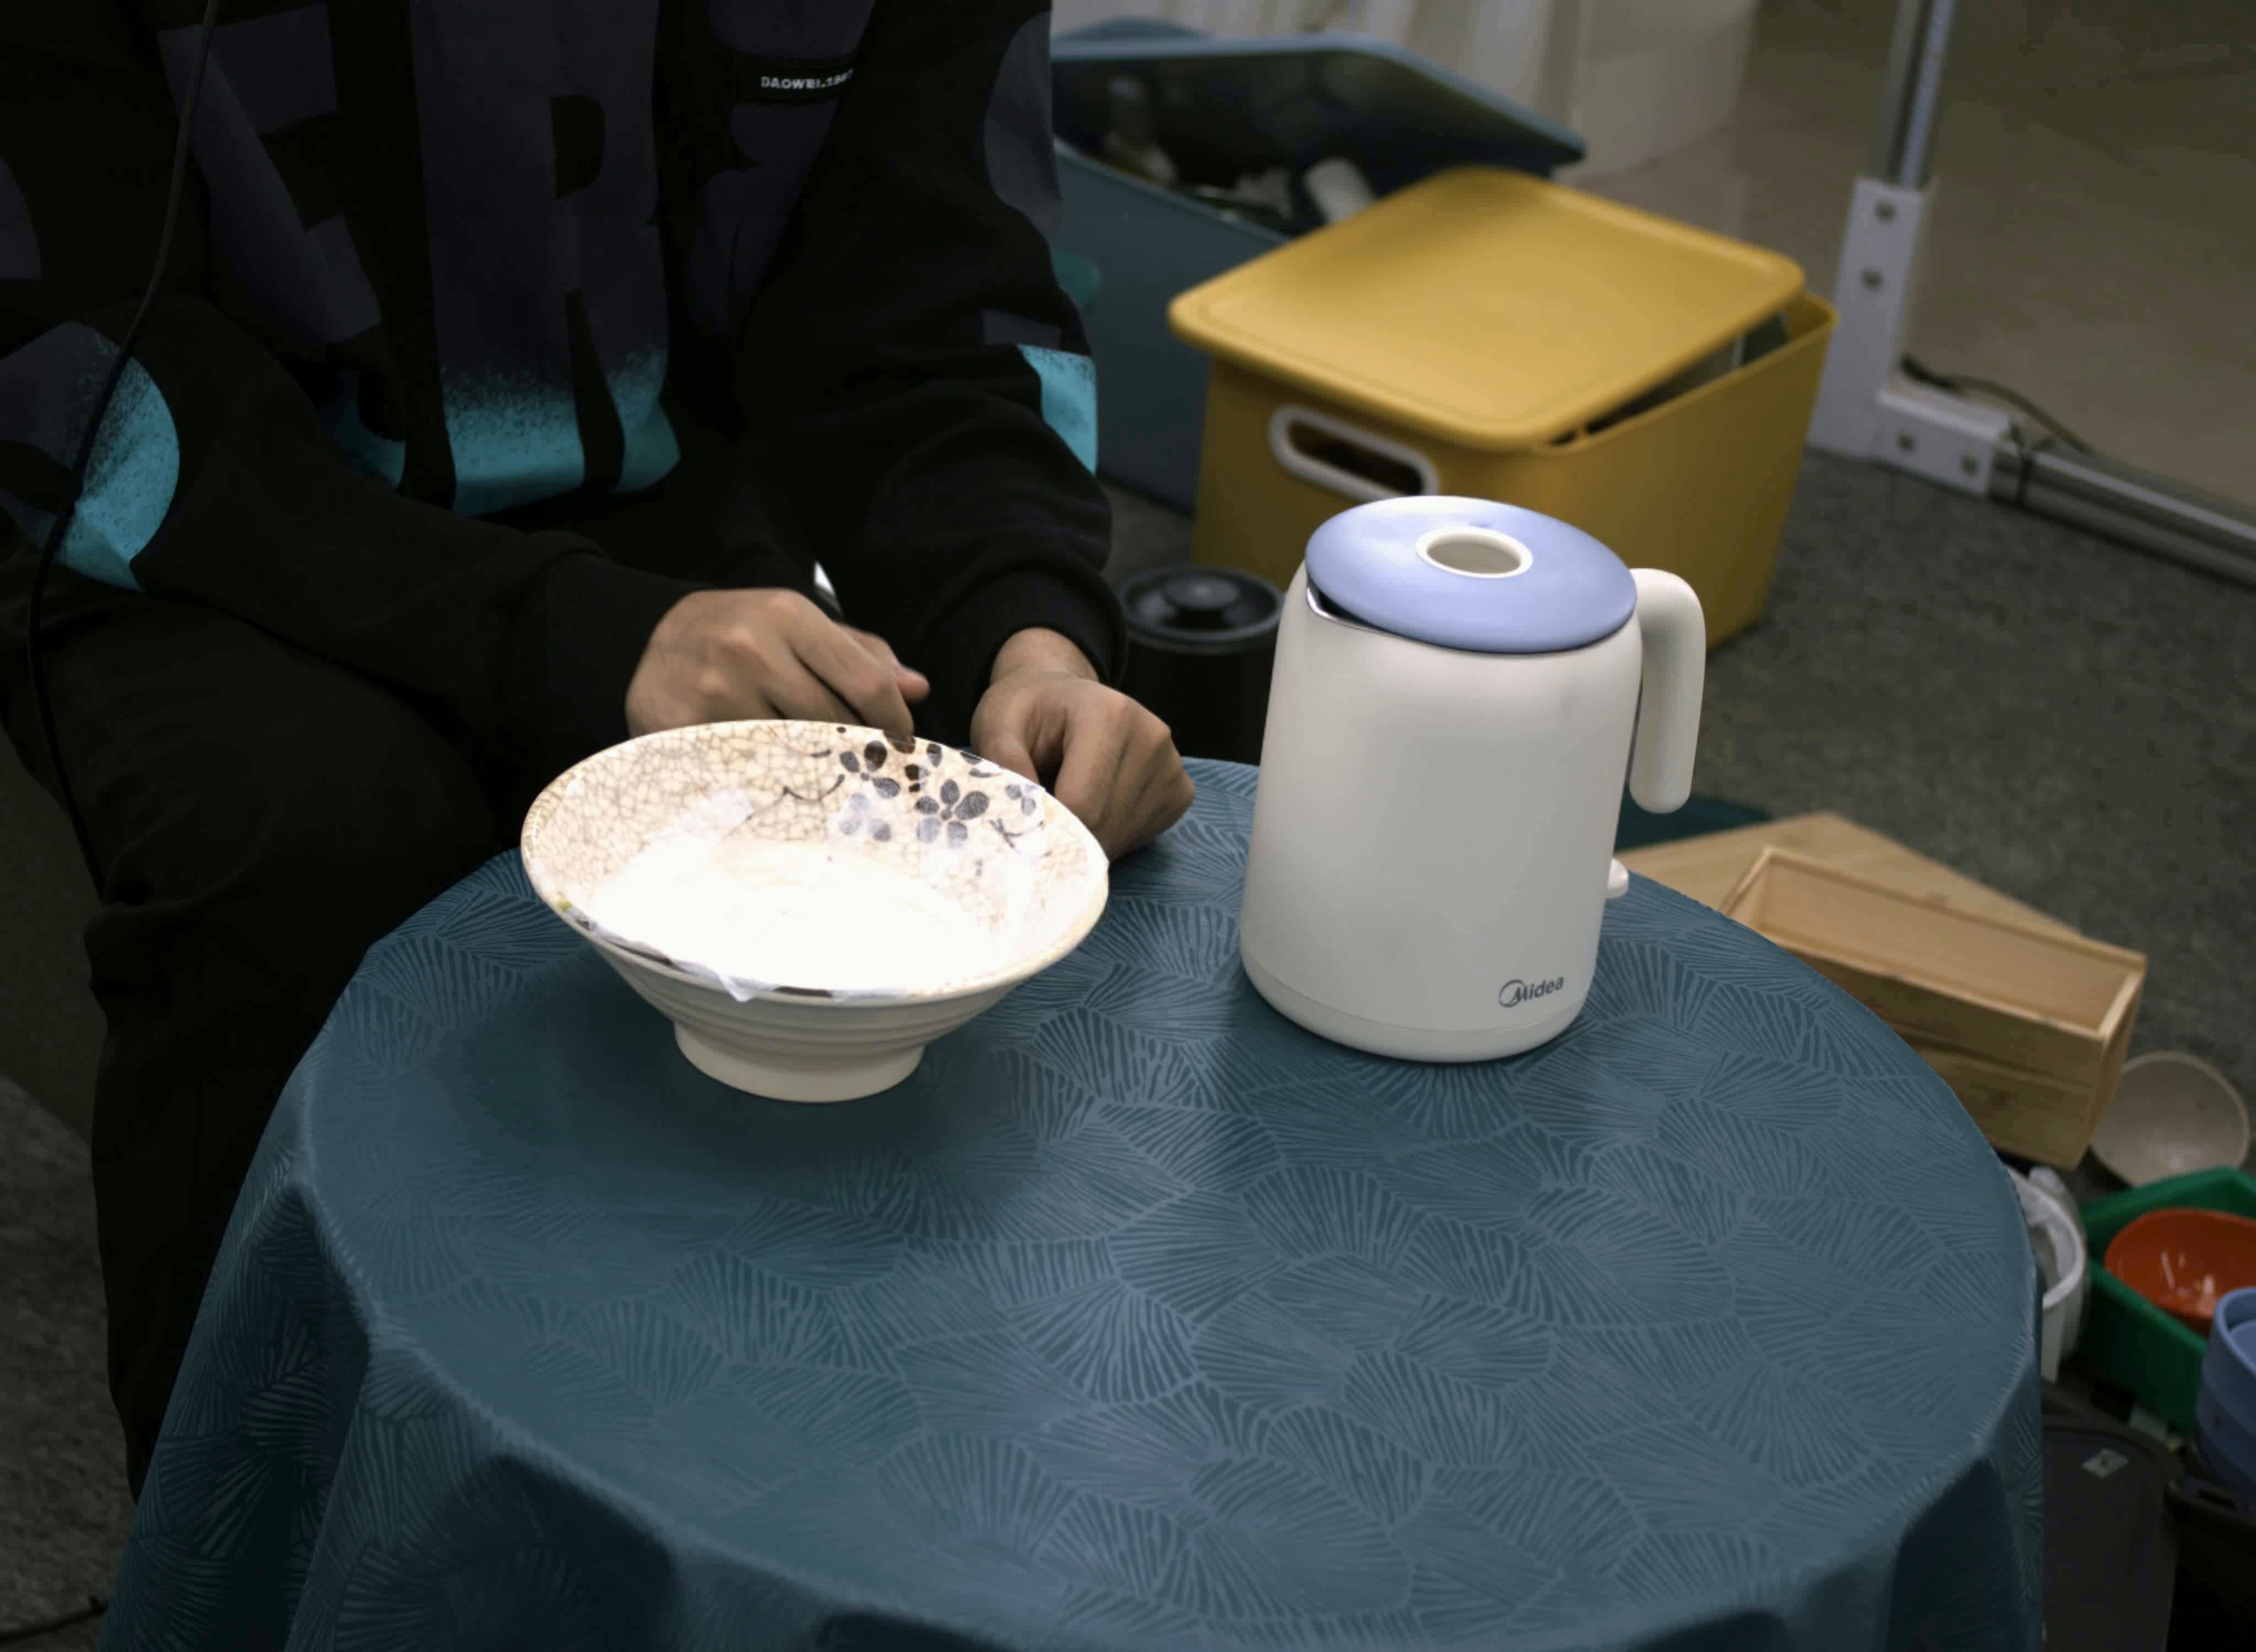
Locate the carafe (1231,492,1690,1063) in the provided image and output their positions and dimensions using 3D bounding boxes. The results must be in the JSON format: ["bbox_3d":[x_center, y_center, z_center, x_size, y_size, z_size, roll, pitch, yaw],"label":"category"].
[{"bbox_3d":[0.130,-0.022,1.927,0.190,0.182,0.133,-11,33,-36],"label":"carafe"}]

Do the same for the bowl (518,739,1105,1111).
[{"bbox_3d":[-0.112,0.045,1.848,0.203,0.078,0.205,5,24,-3],"label":"bowl"}]
